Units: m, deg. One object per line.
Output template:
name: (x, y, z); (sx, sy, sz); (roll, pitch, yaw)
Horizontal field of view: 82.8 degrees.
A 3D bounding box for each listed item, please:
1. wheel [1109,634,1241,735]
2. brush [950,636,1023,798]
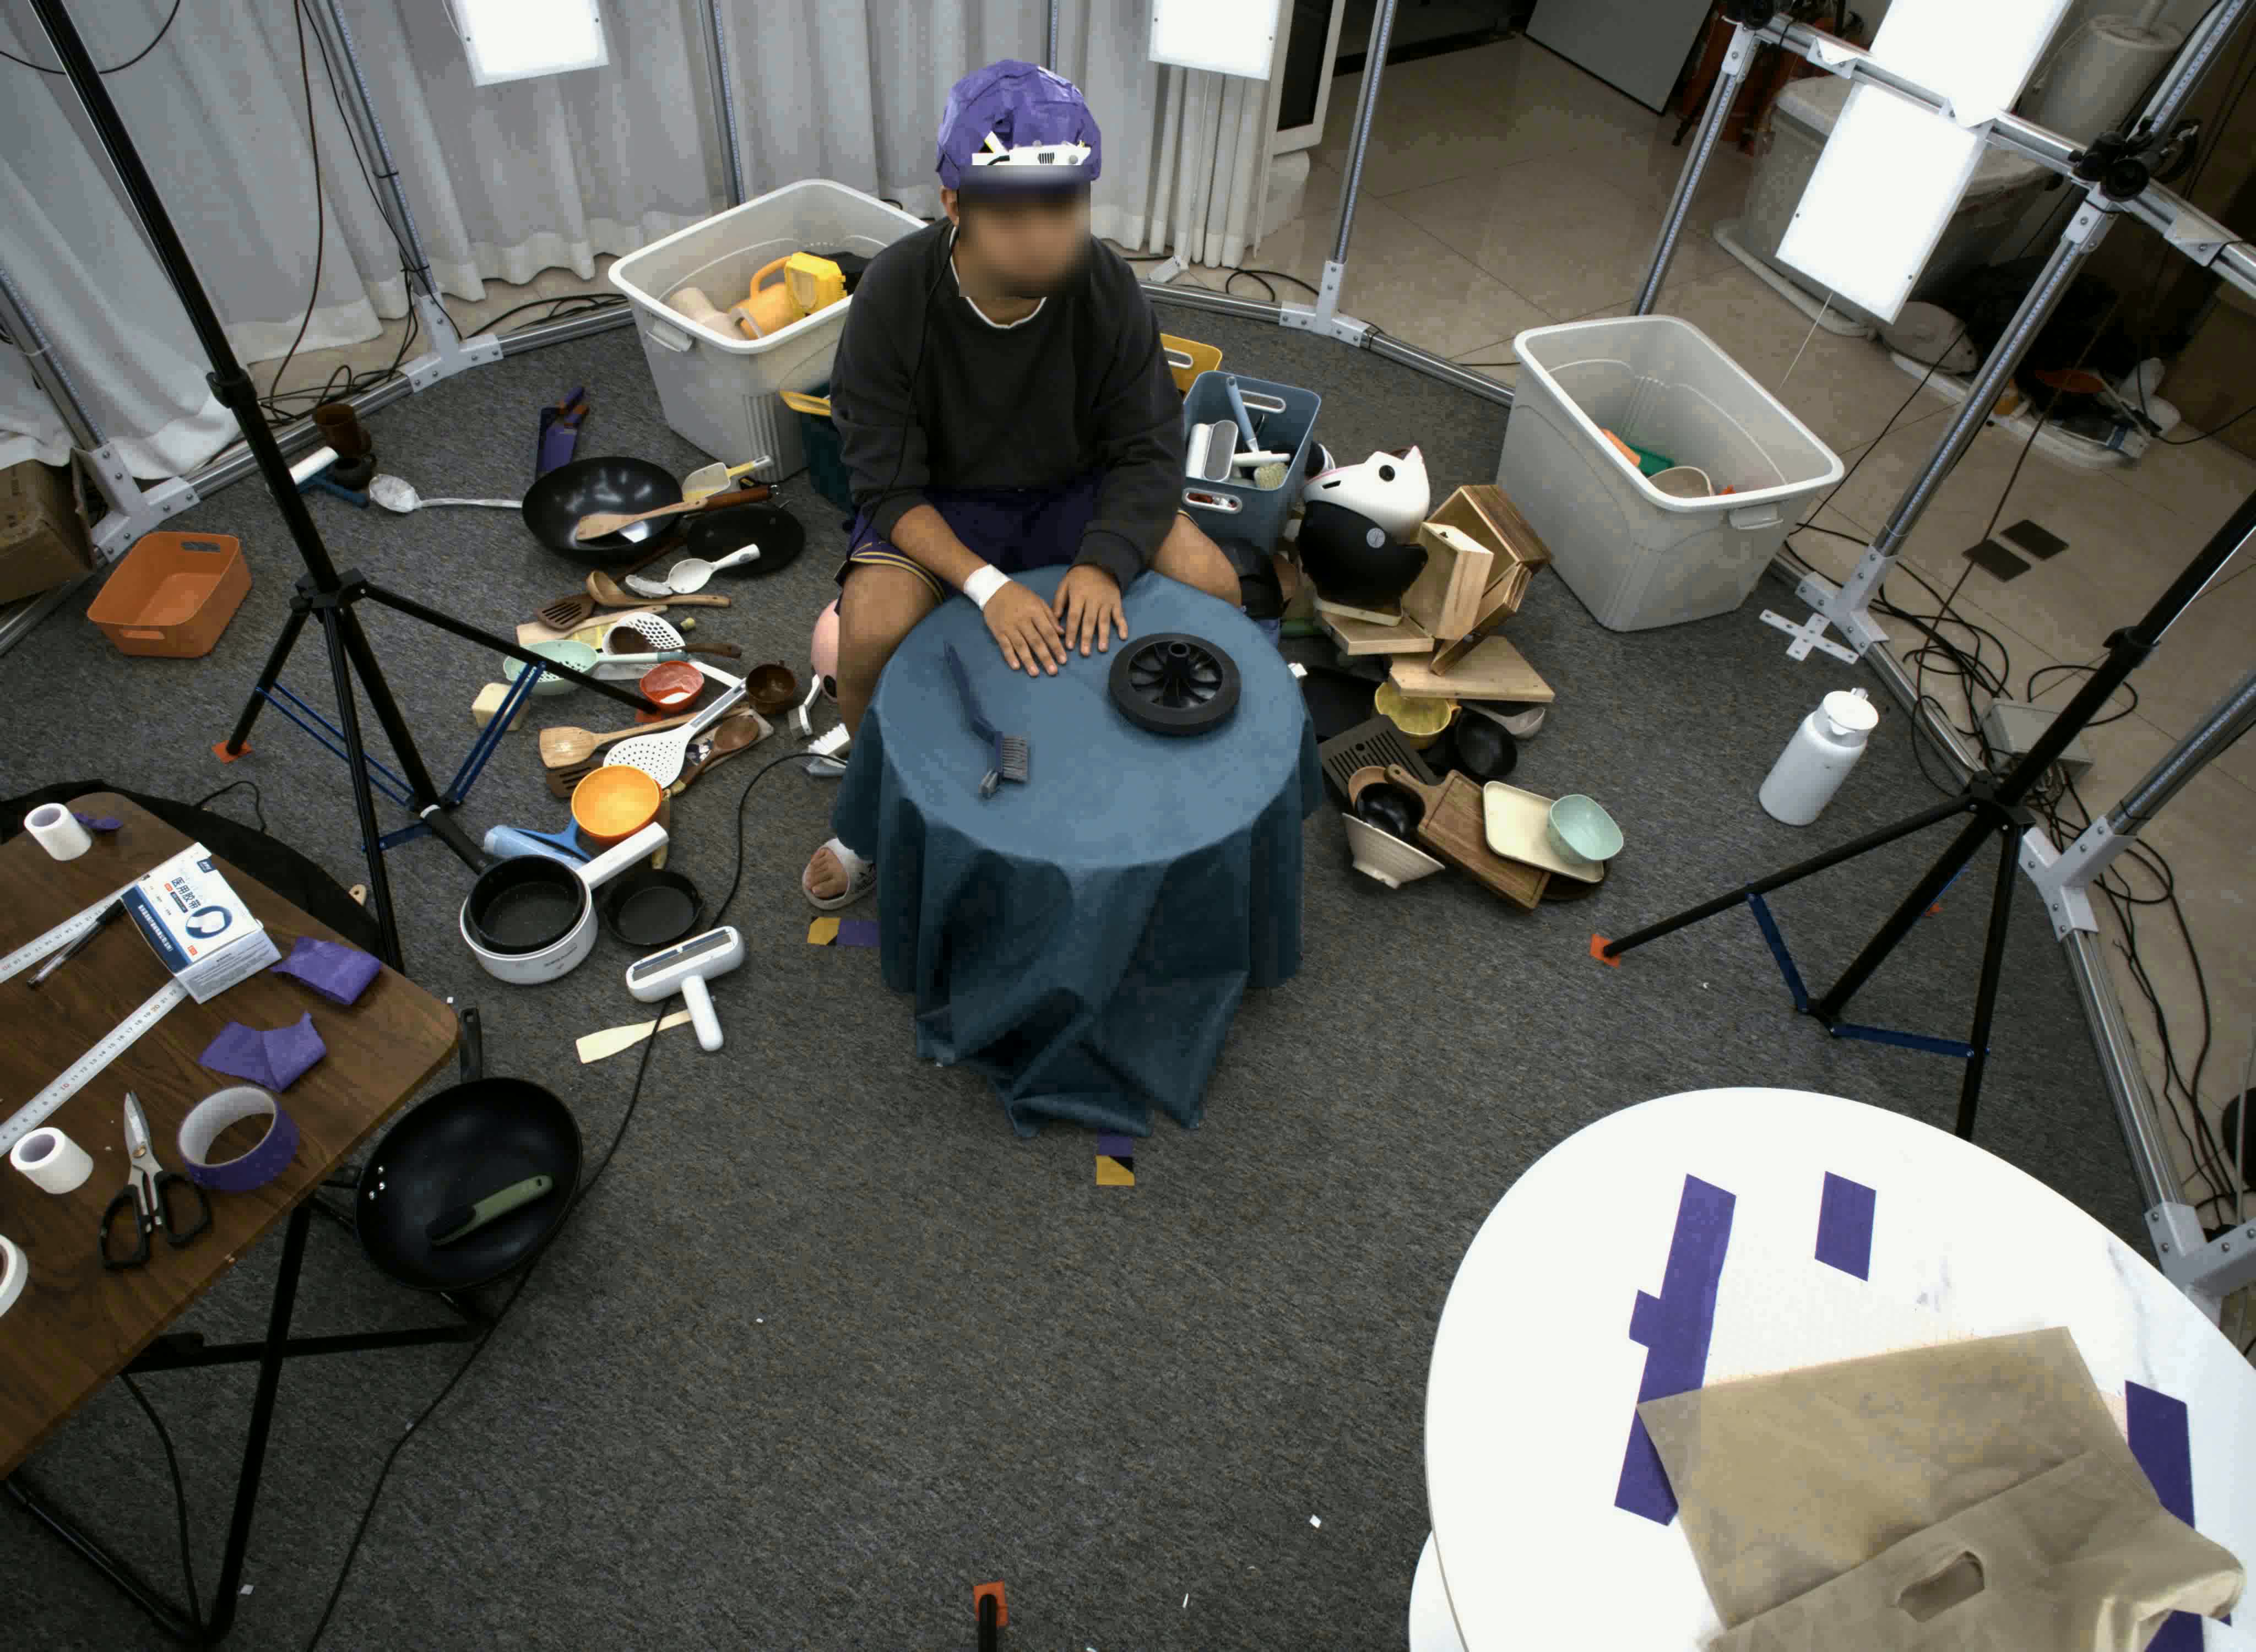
wheel: (0.068, -0.218, 1.811); (0.187, 0.077, 0.194); (10, 49, 5)
brush: (-0.218, -0.155, 1.765); (0.096, 0.033, 0.279); (-19, 54, -19)
